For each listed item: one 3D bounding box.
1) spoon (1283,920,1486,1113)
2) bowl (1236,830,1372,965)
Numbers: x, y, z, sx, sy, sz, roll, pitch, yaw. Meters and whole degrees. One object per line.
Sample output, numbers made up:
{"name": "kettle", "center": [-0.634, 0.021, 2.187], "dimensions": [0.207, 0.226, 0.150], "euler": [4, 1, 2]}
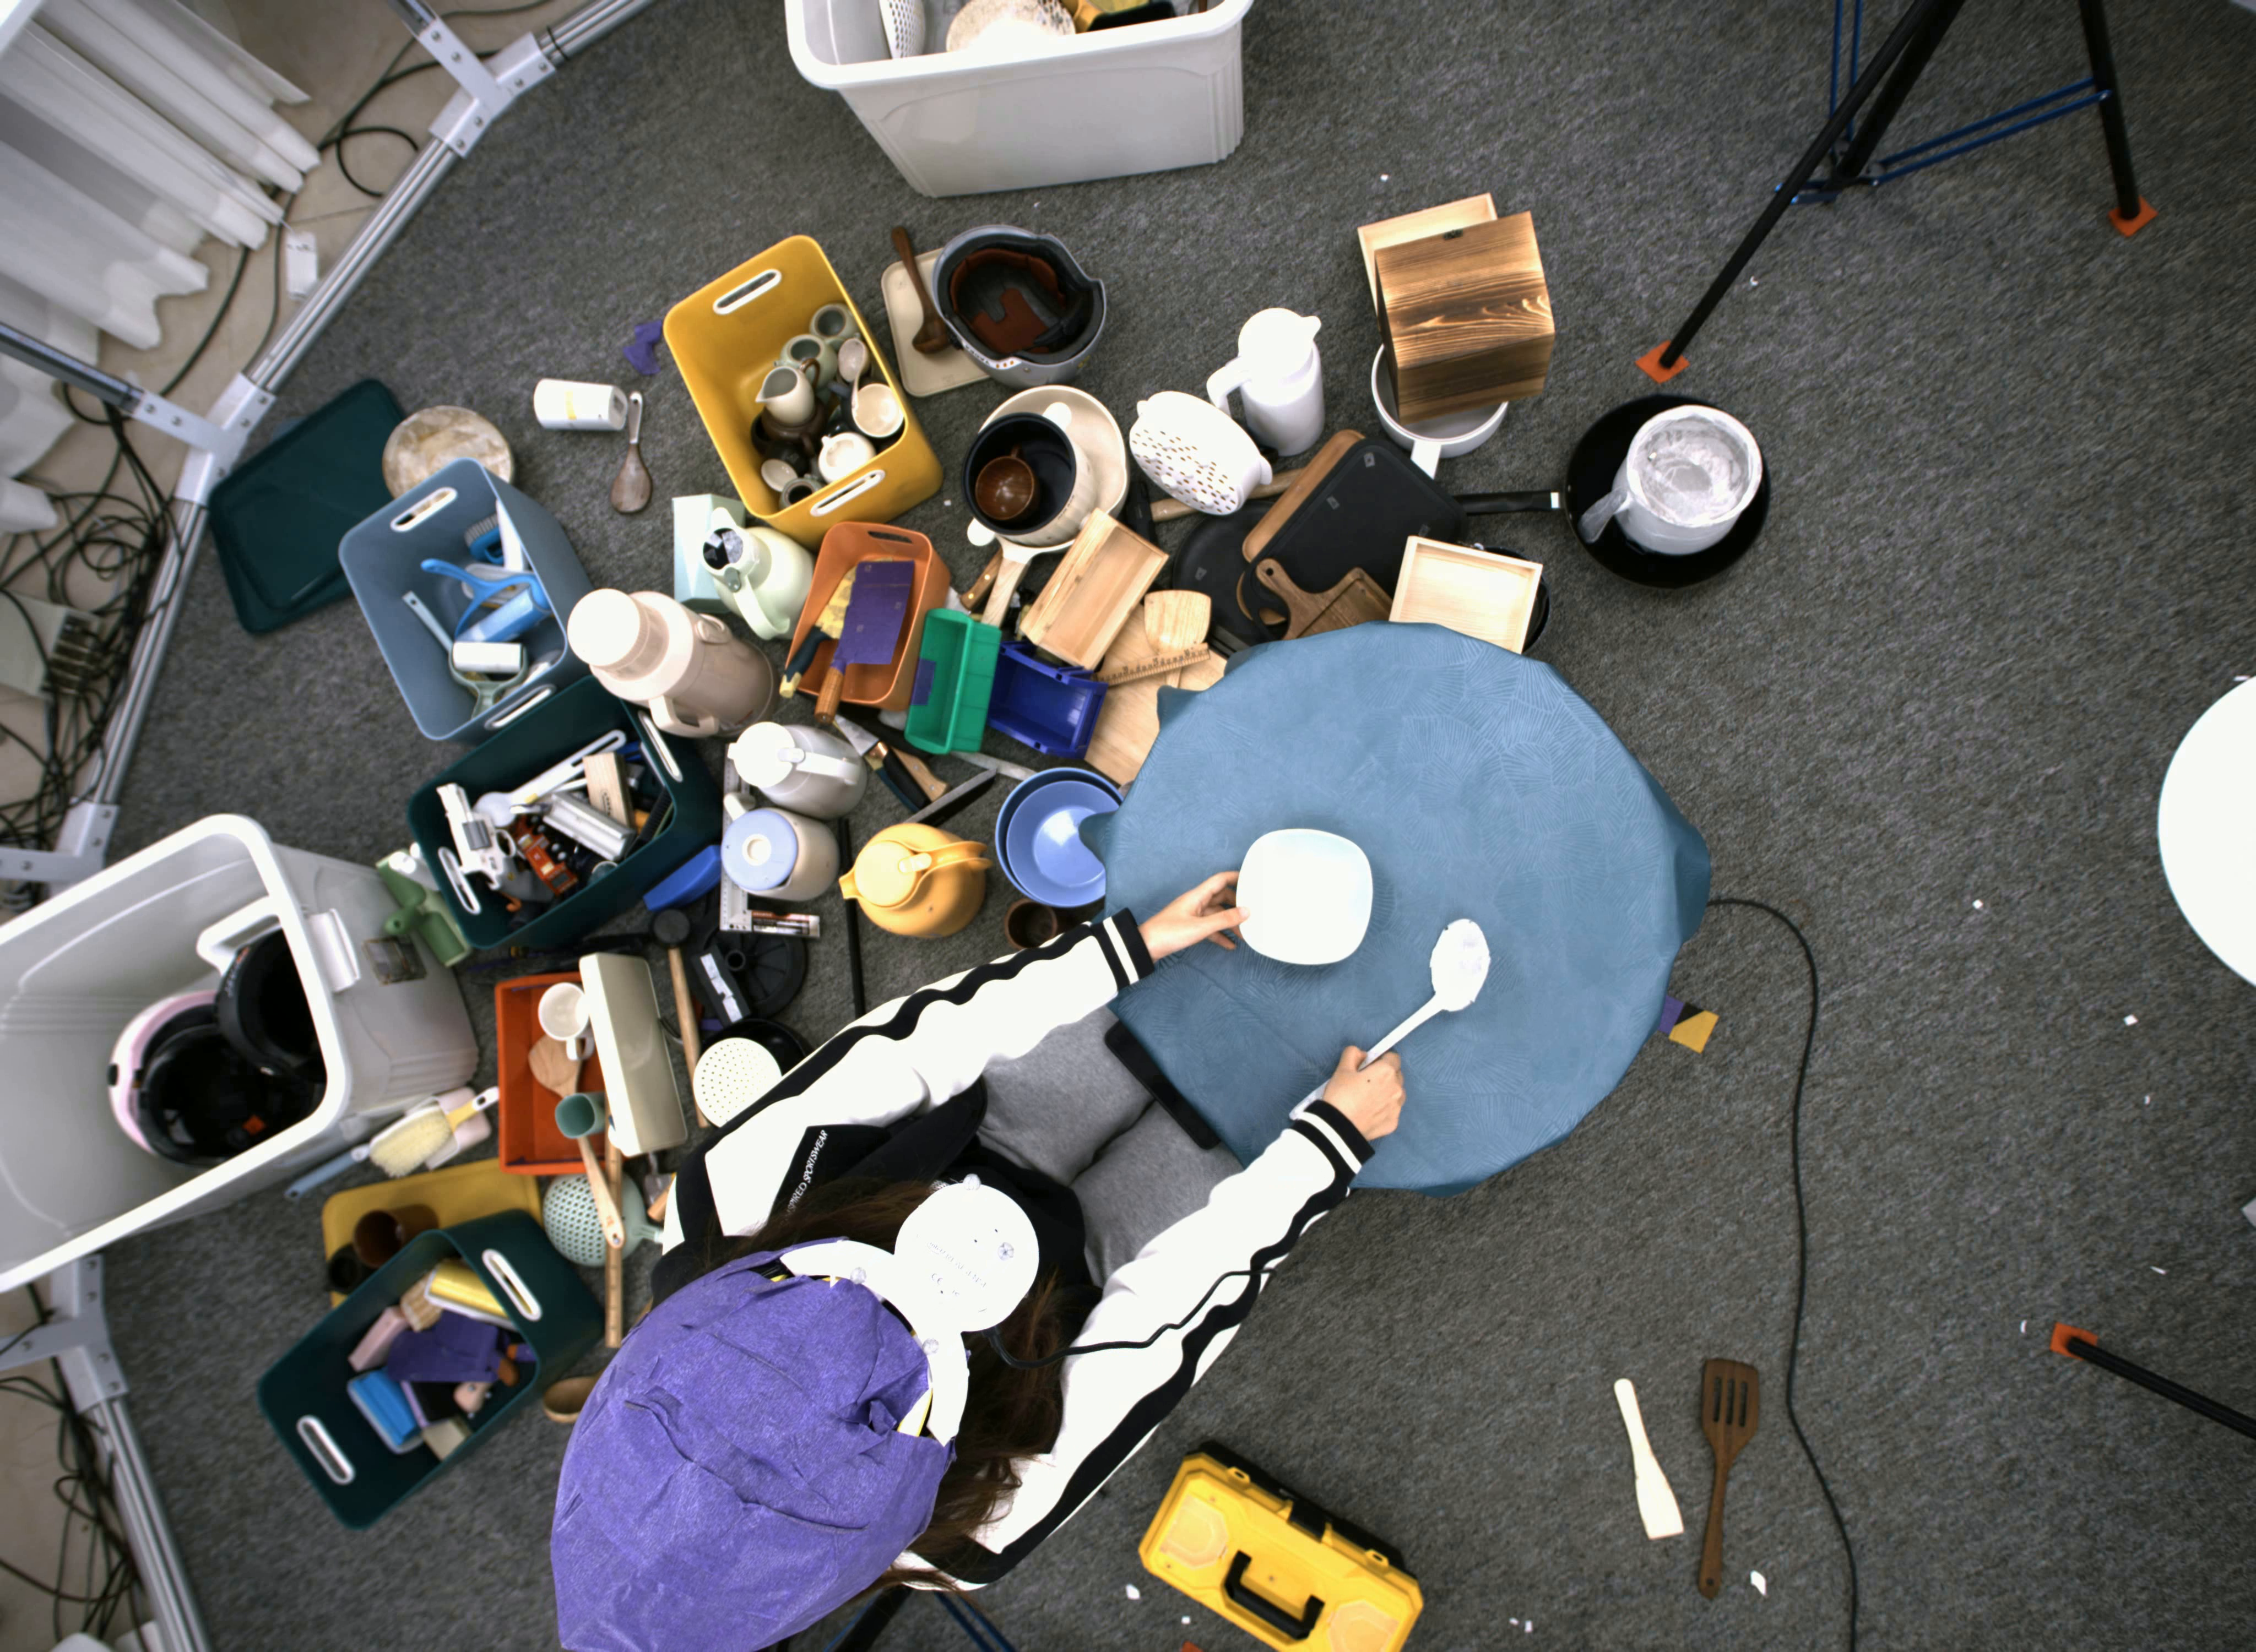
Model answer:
{"name": "spoon", "center": [0.258, 0.198, 1.431], "dimensions": [0.280, 0.098, 0.060], "euler": [-37, 118, 13]}
{"name": "bowl", "center": [0.185, 0.075, 1.450], "dimensions": [0.152, 0.058, 0.151], "euler": [-1, 86, 11]}
